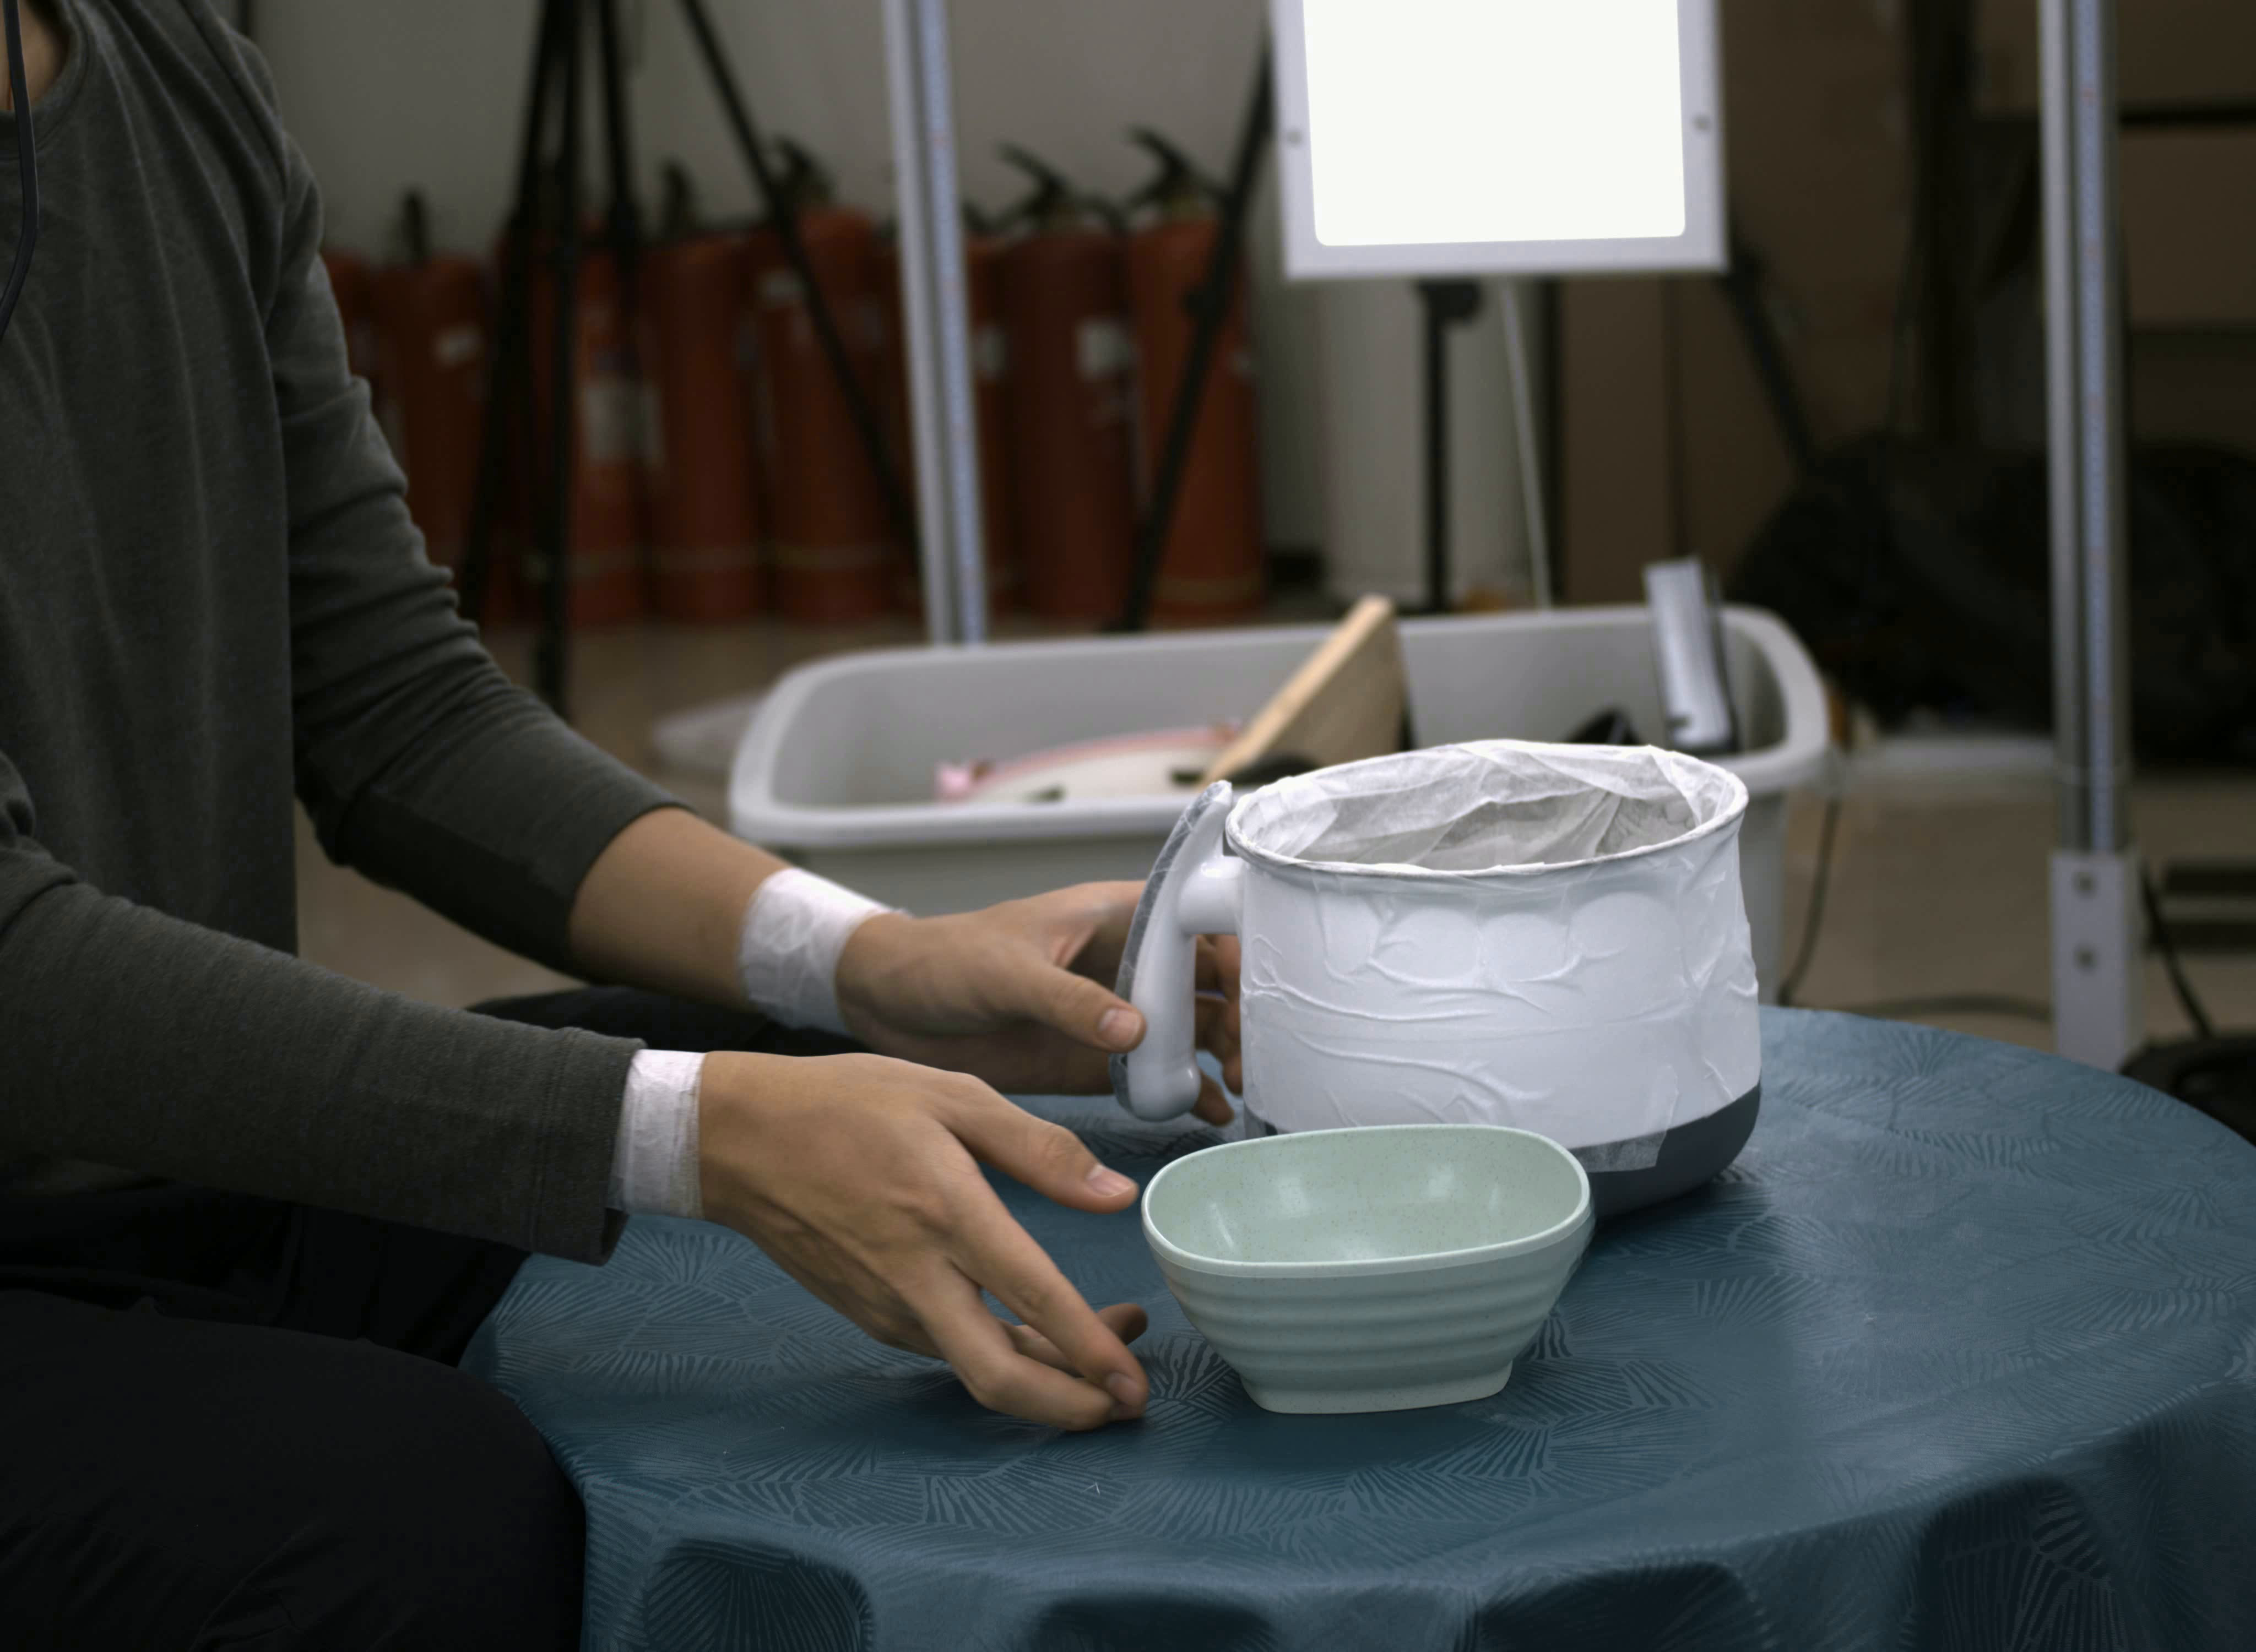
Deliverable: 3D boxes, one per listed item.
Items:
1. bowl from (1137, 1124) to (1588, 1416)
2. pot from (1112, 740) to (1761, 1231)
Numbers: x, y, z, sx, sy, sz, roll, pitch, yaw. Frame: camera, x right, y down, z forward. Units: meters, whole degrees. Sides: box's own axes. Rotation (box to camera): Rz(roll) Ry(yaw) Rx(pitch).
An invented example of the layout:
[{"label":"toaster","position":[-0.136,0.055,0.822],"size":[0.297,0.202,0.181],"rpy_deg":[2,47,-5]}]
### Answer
[{"label":"bowl","position":[0.073,0.140,1.699],"size":[0.151,0.059,0.151],"rpy_deg":[-3,14,-1]},{"label":"pot","position":[0.101,0.052,1.877],"size":[0.237,0.137,0.175],"rpy_deg":[2,15,26]}]
